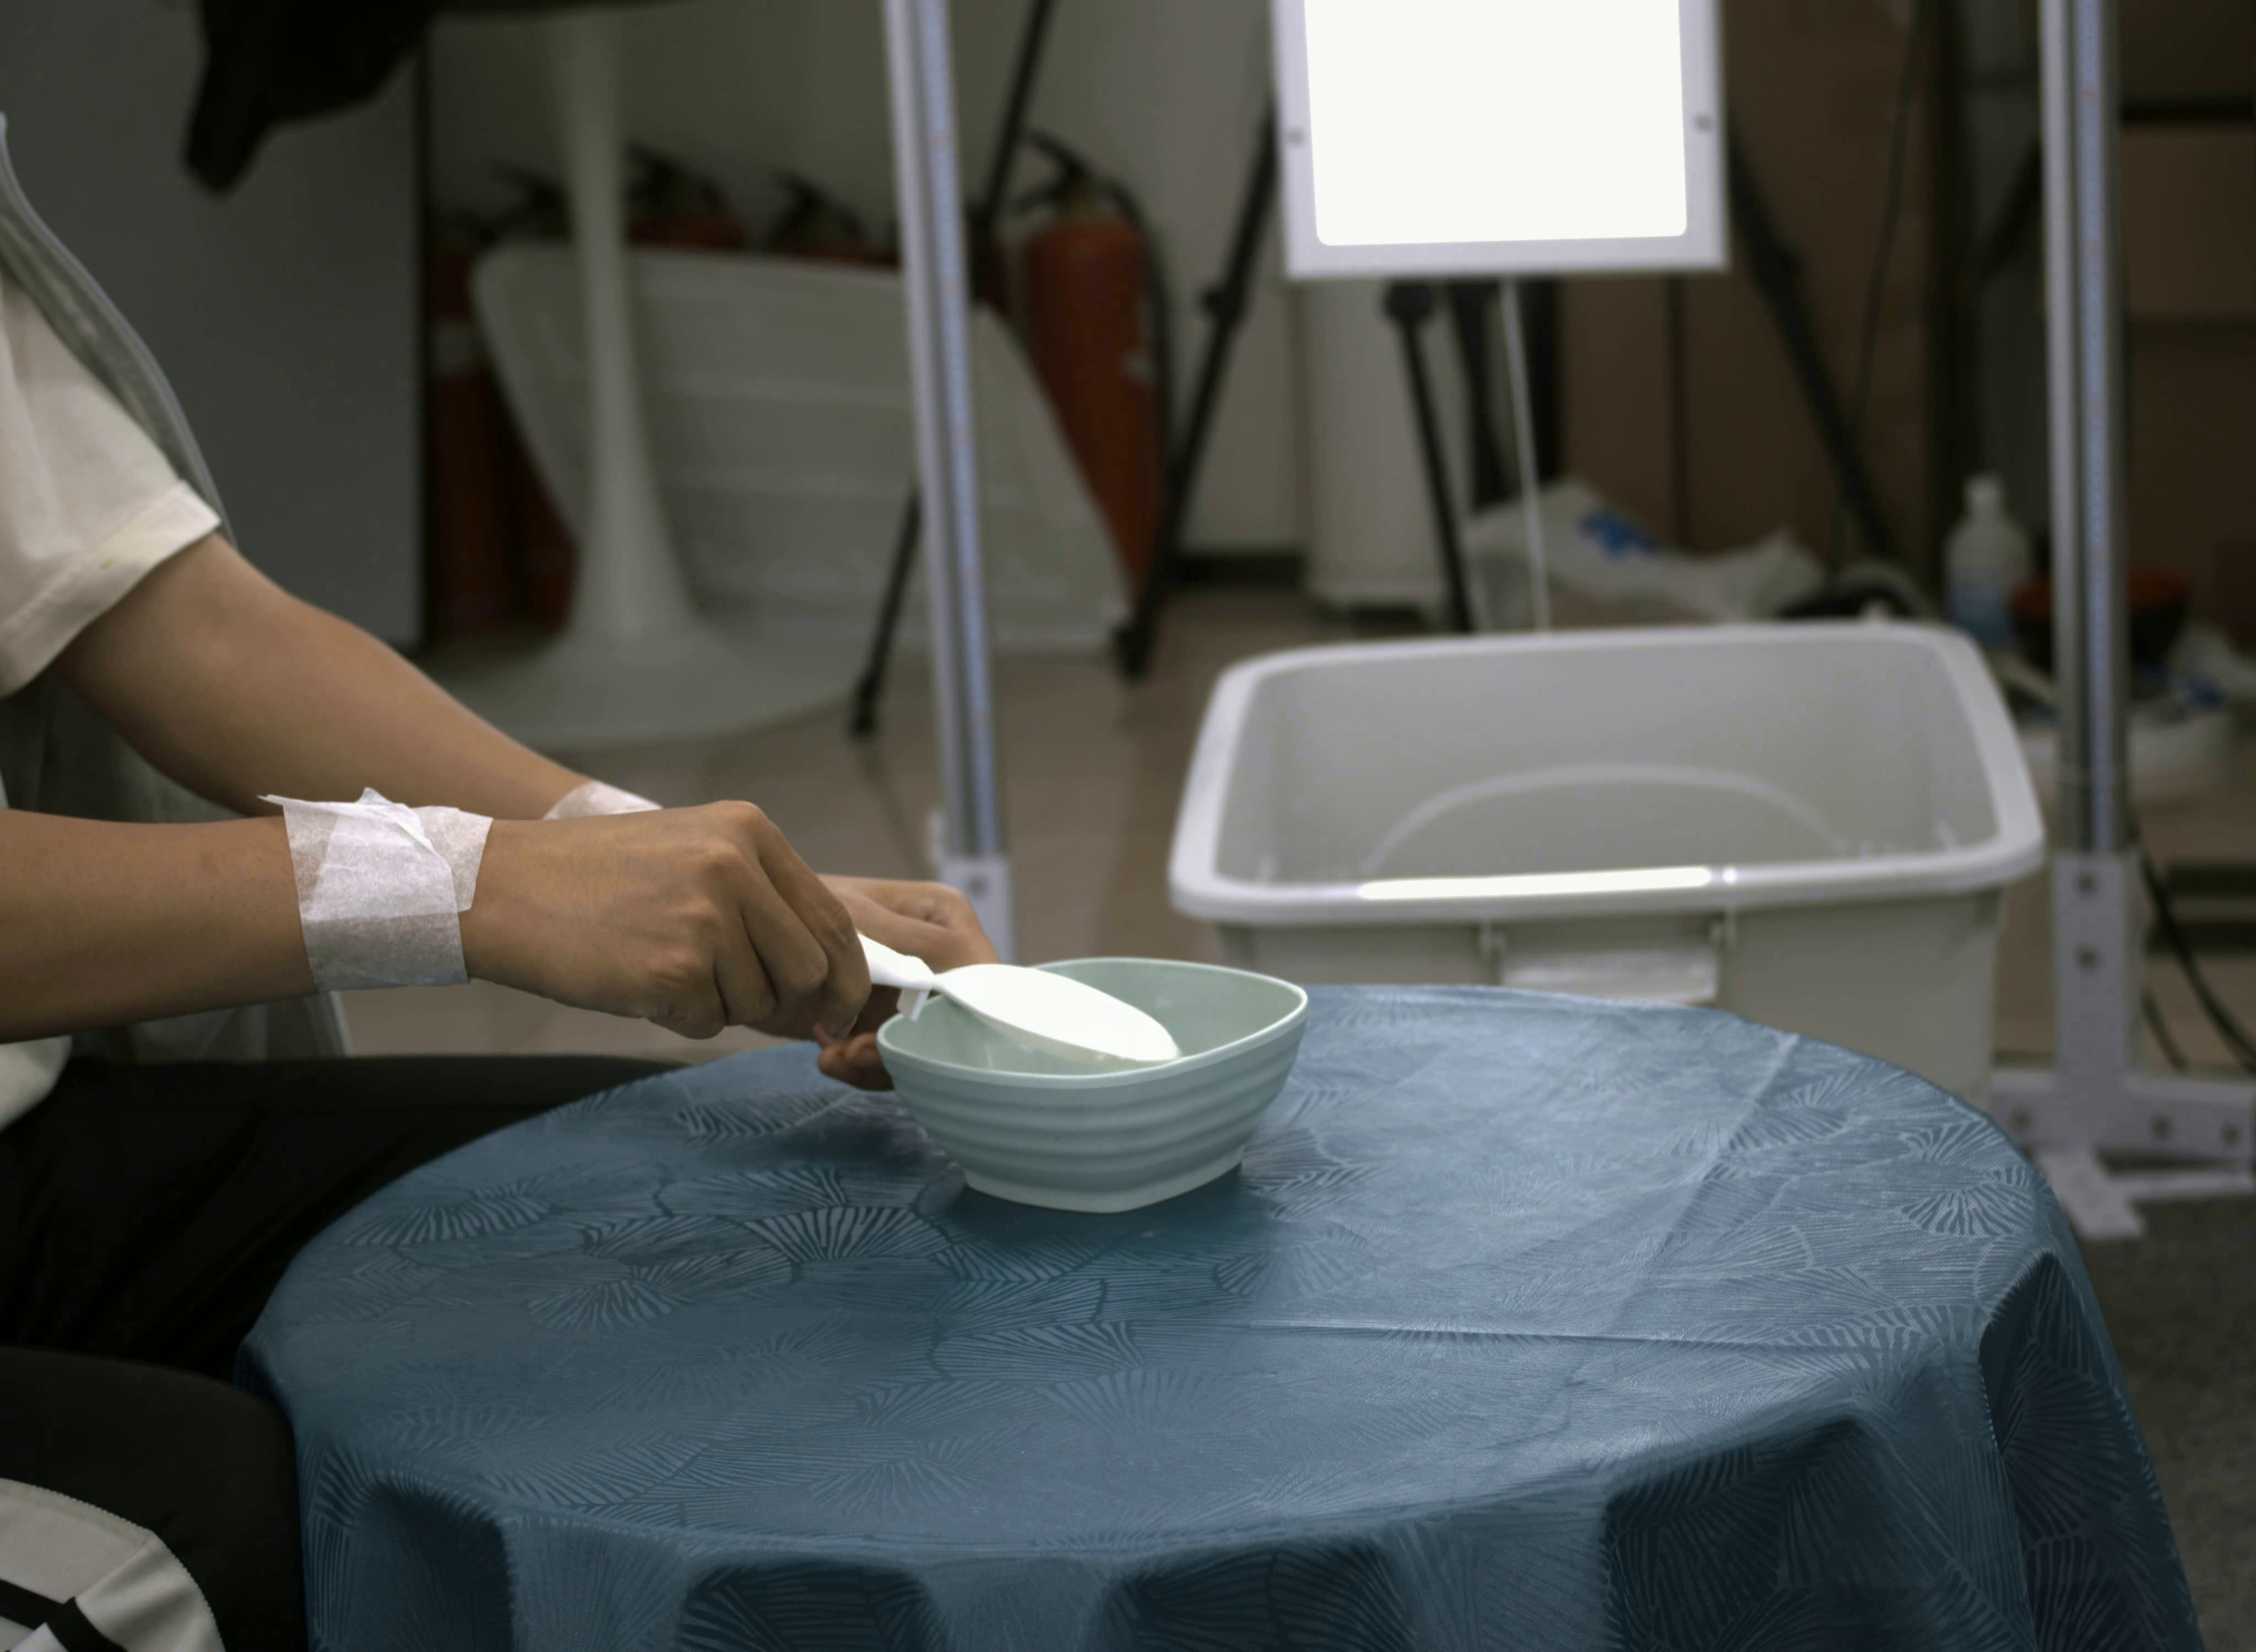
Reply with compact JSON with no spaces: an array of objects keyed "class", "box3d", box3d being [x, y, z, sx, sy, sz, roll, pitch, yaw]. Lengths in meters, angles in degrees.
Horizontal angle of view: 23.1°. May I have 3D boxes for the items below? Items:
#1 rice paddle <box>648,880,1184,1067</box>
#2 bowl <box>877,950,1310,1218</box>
[{"class":"rice paddle","box3d":[-0.066,0.052,1.864,0.201,0.029,0.069,14,17,-30]},{"class":"bowl","box3d":[-0.010,0.093,1.917,0.151,0.059,0.151,-4,16,0]}]
